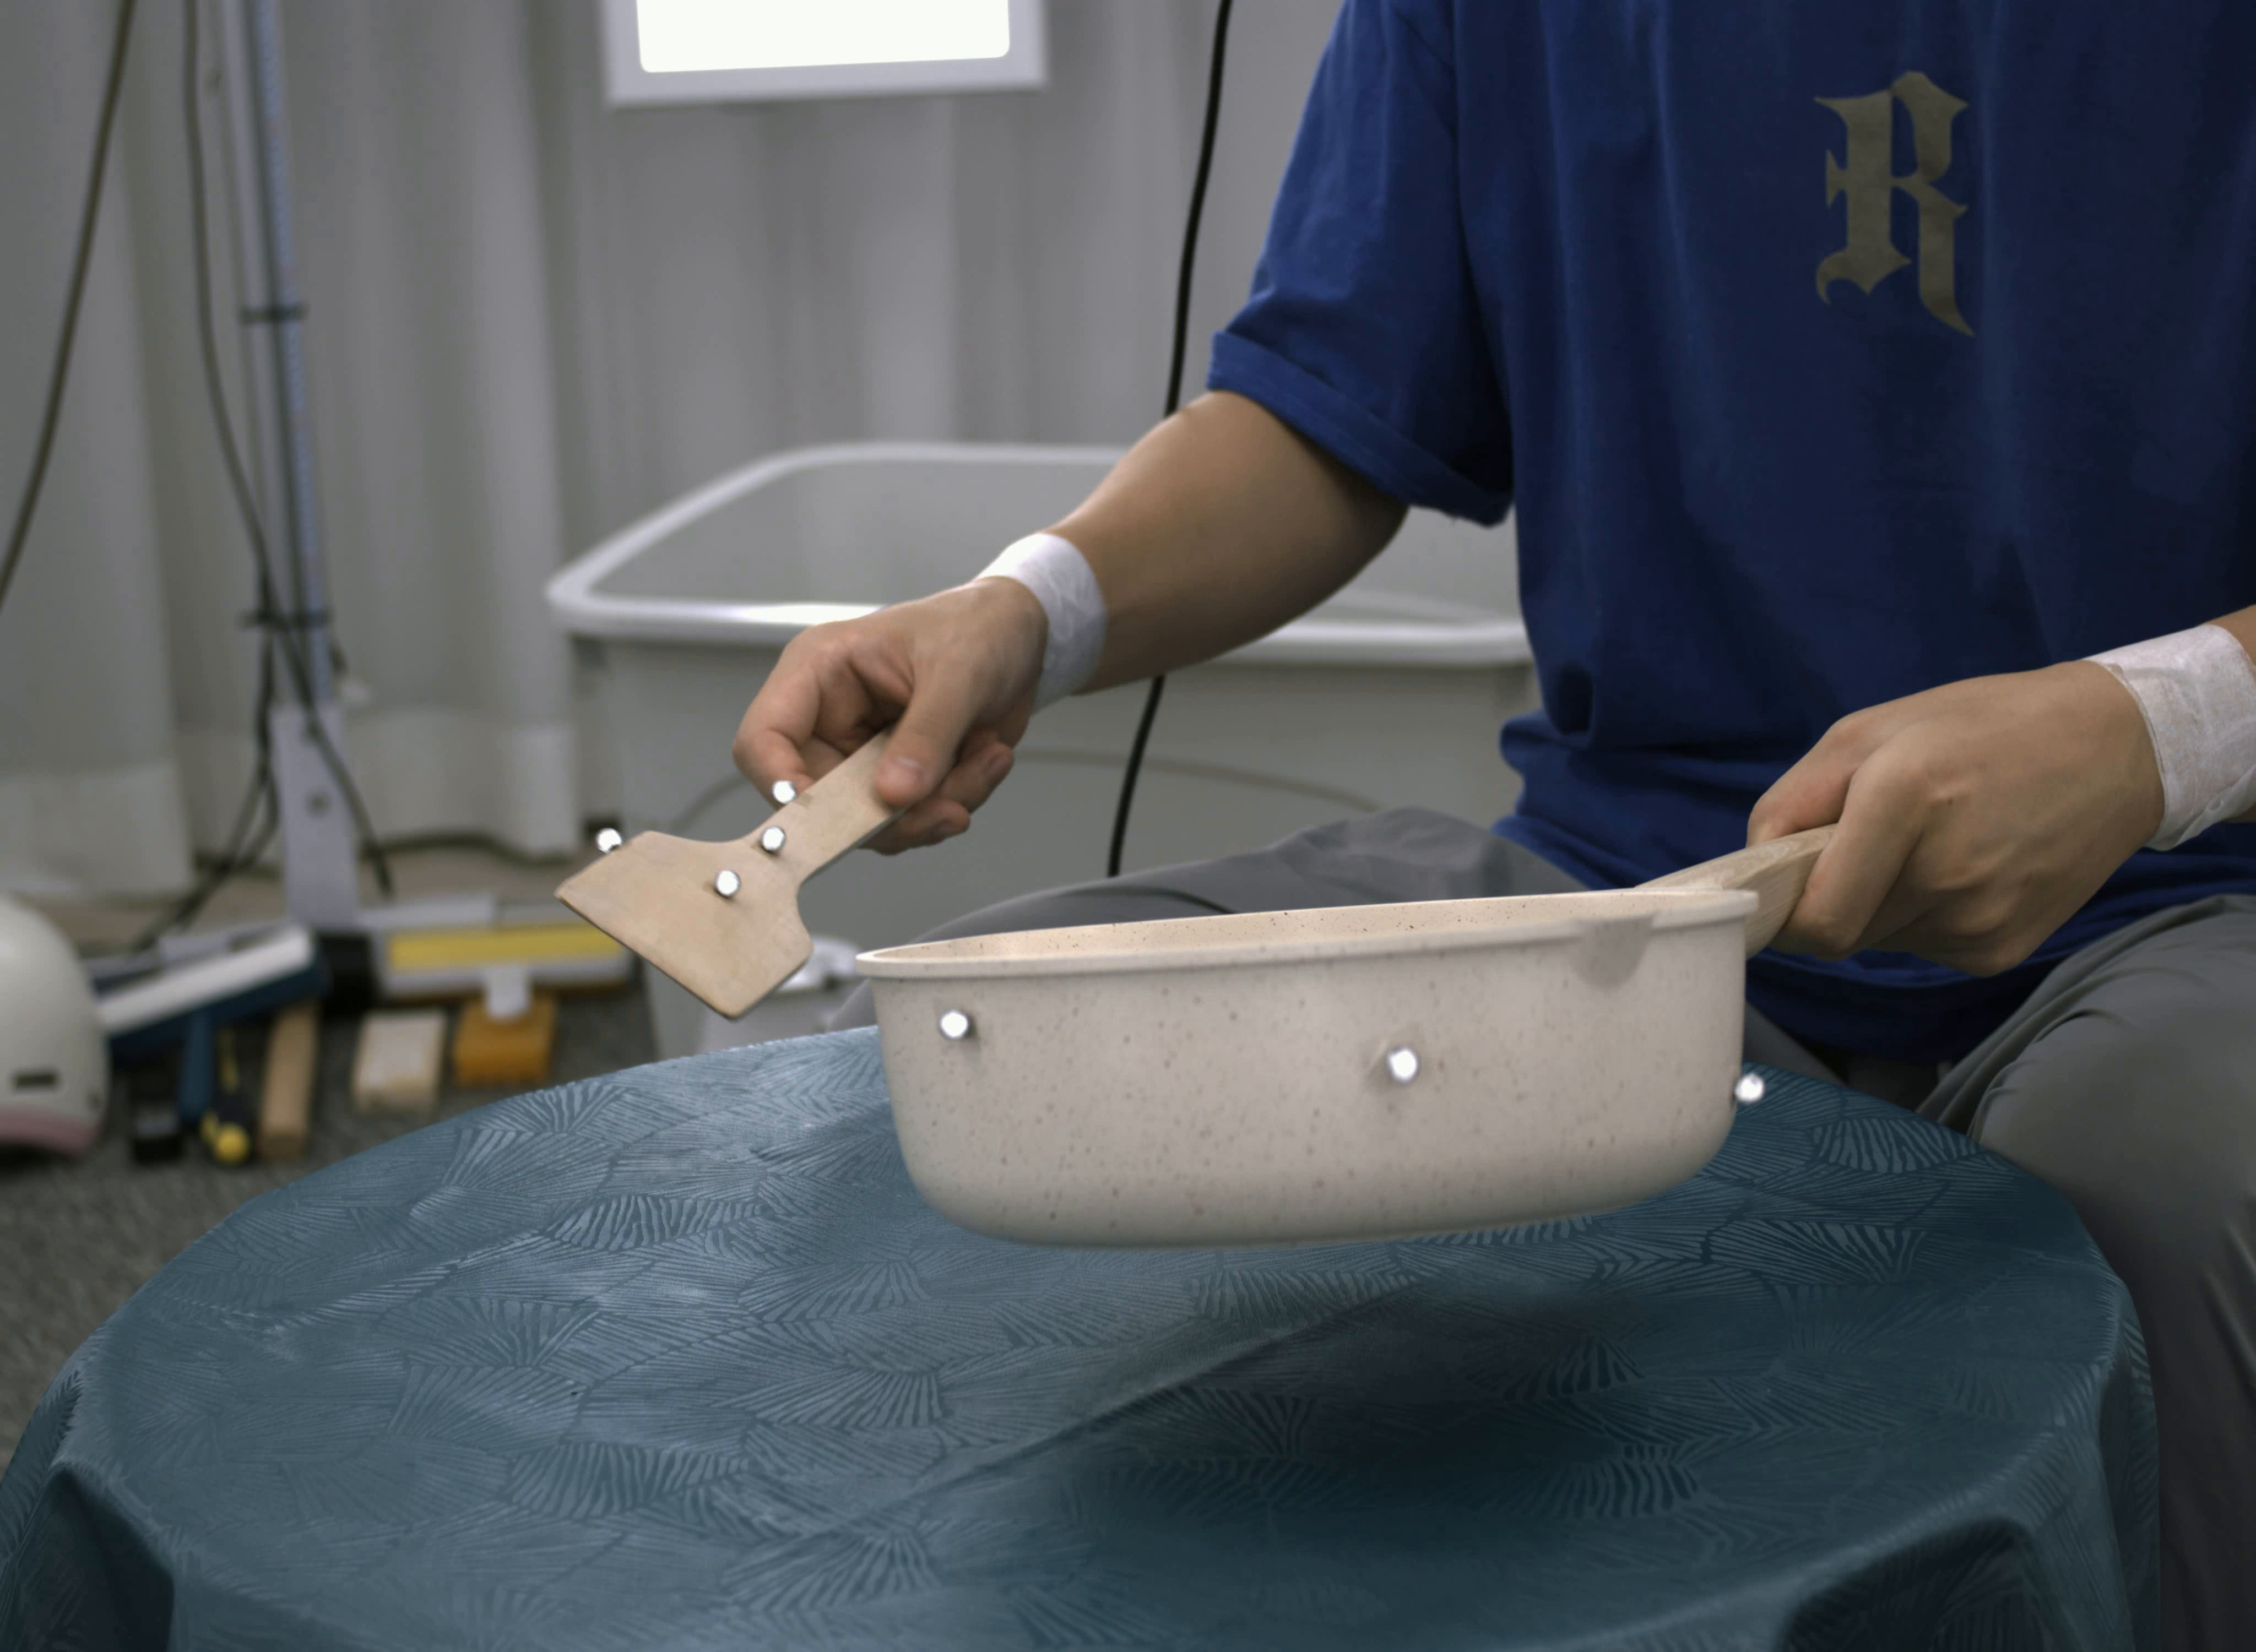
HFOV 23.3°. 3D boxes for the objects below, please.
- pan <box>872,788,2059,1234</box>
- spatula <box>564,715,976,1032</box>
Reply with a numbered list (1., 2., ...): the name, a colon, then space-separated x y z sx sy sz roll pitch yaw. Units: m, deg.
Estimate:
1. pan: 0.126 0.051 1.569 0.432 0.102 0.263 -4 -2 -40
2. spatula: -0.108 0.006 1.821 0.072 0.010 0.294 34 23 5
